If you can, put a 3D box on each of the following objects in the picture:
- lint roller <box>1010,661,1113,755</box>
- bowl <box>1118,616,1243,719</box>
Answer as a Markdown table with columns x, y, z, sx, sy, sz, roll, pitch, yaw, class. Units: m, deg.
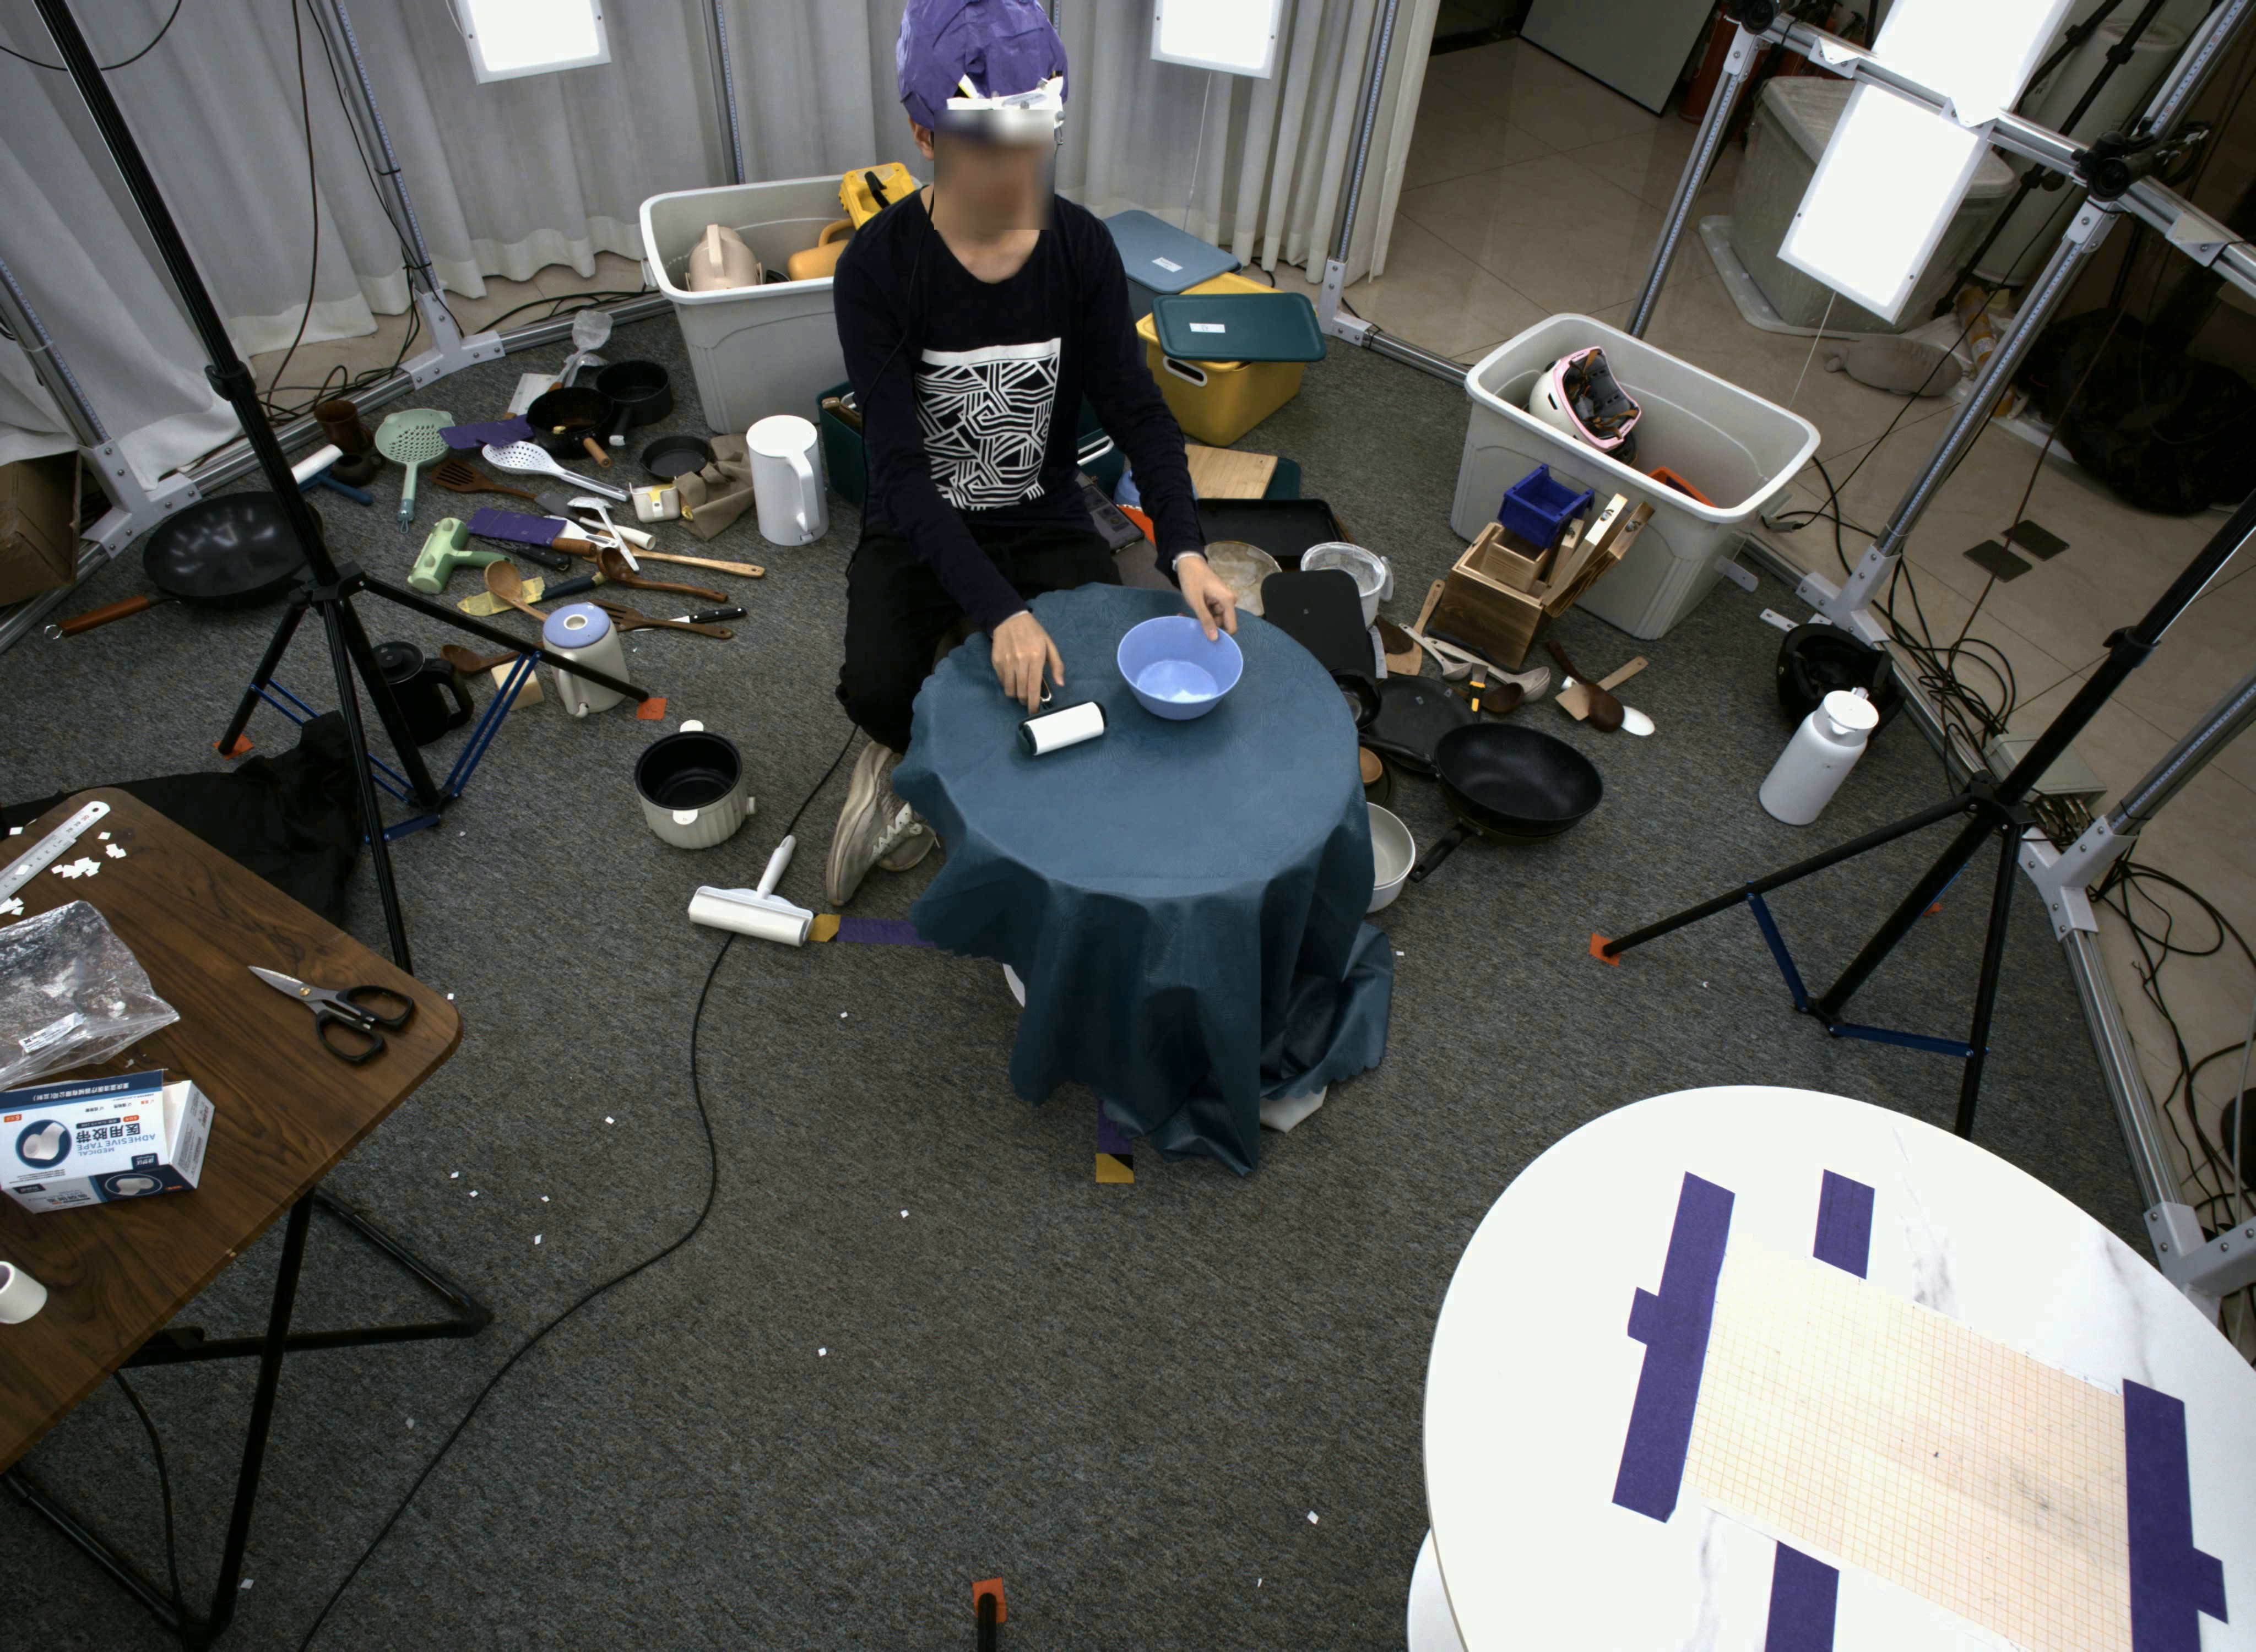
| x | y | z | sx | sy | sz | roll | pitch | yaw | class |
| --- | --- | --- | --- | --- | --- | --- | --- | --- | --- |
| -0.119 | -0.182 | 1.782 | 0.134 | 0.047 | 0.184 | -19 | 56 | -19 | lint roller |
| 0.072 | -0.215 | 1.812 | 0.176 | 0.068 | 0.180 | 2 | 49 | -2 | bowl |
